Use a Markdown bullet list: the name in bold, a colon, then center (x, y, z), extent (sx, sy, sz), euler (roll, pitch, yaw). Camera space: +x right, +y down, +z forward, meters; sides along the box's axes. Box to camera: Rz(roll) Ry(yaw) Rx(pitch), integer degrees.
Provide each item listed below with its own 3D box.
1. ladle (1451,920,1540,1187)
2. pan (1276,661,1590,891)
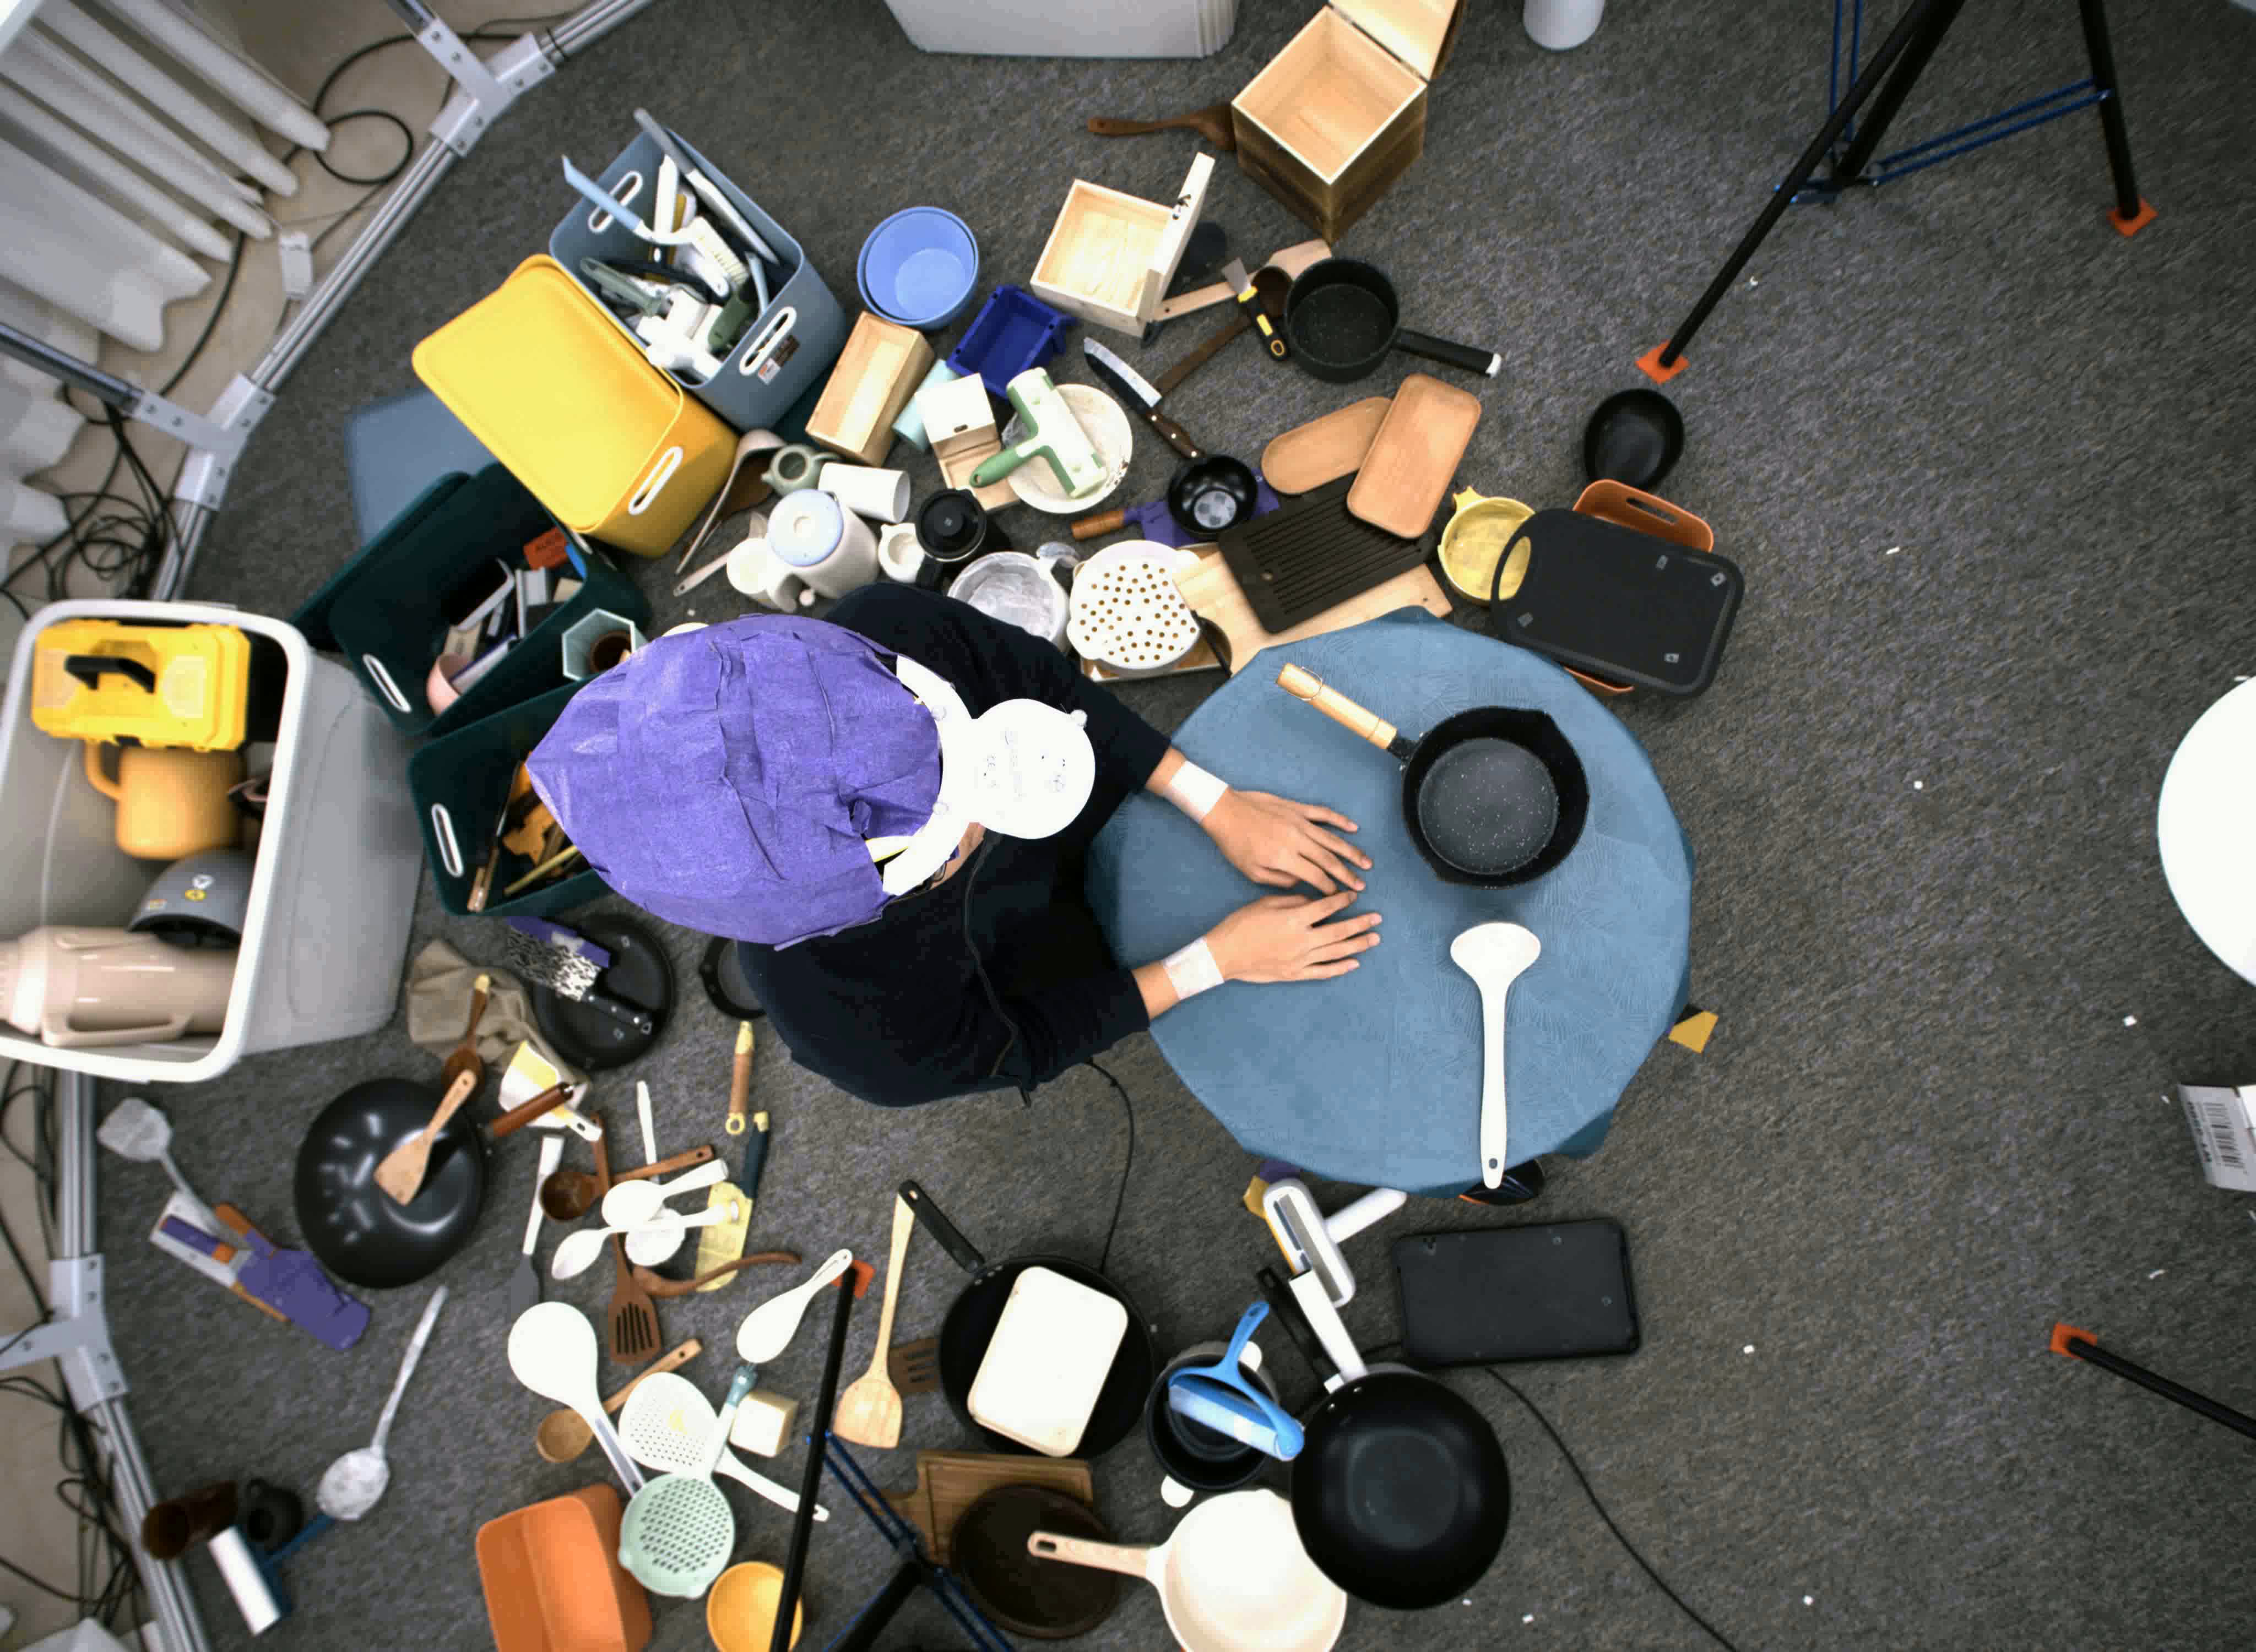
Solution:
- **ladle**: center (0.375, 0.230, 1.399), extent (0.089, 0.069, 0.274), euler (0, 87, 3)
- **pan**: center (0.302, -0.067, 1.407), extent (0.342, 0.108, 0.208), euler (30, 93, 9)
